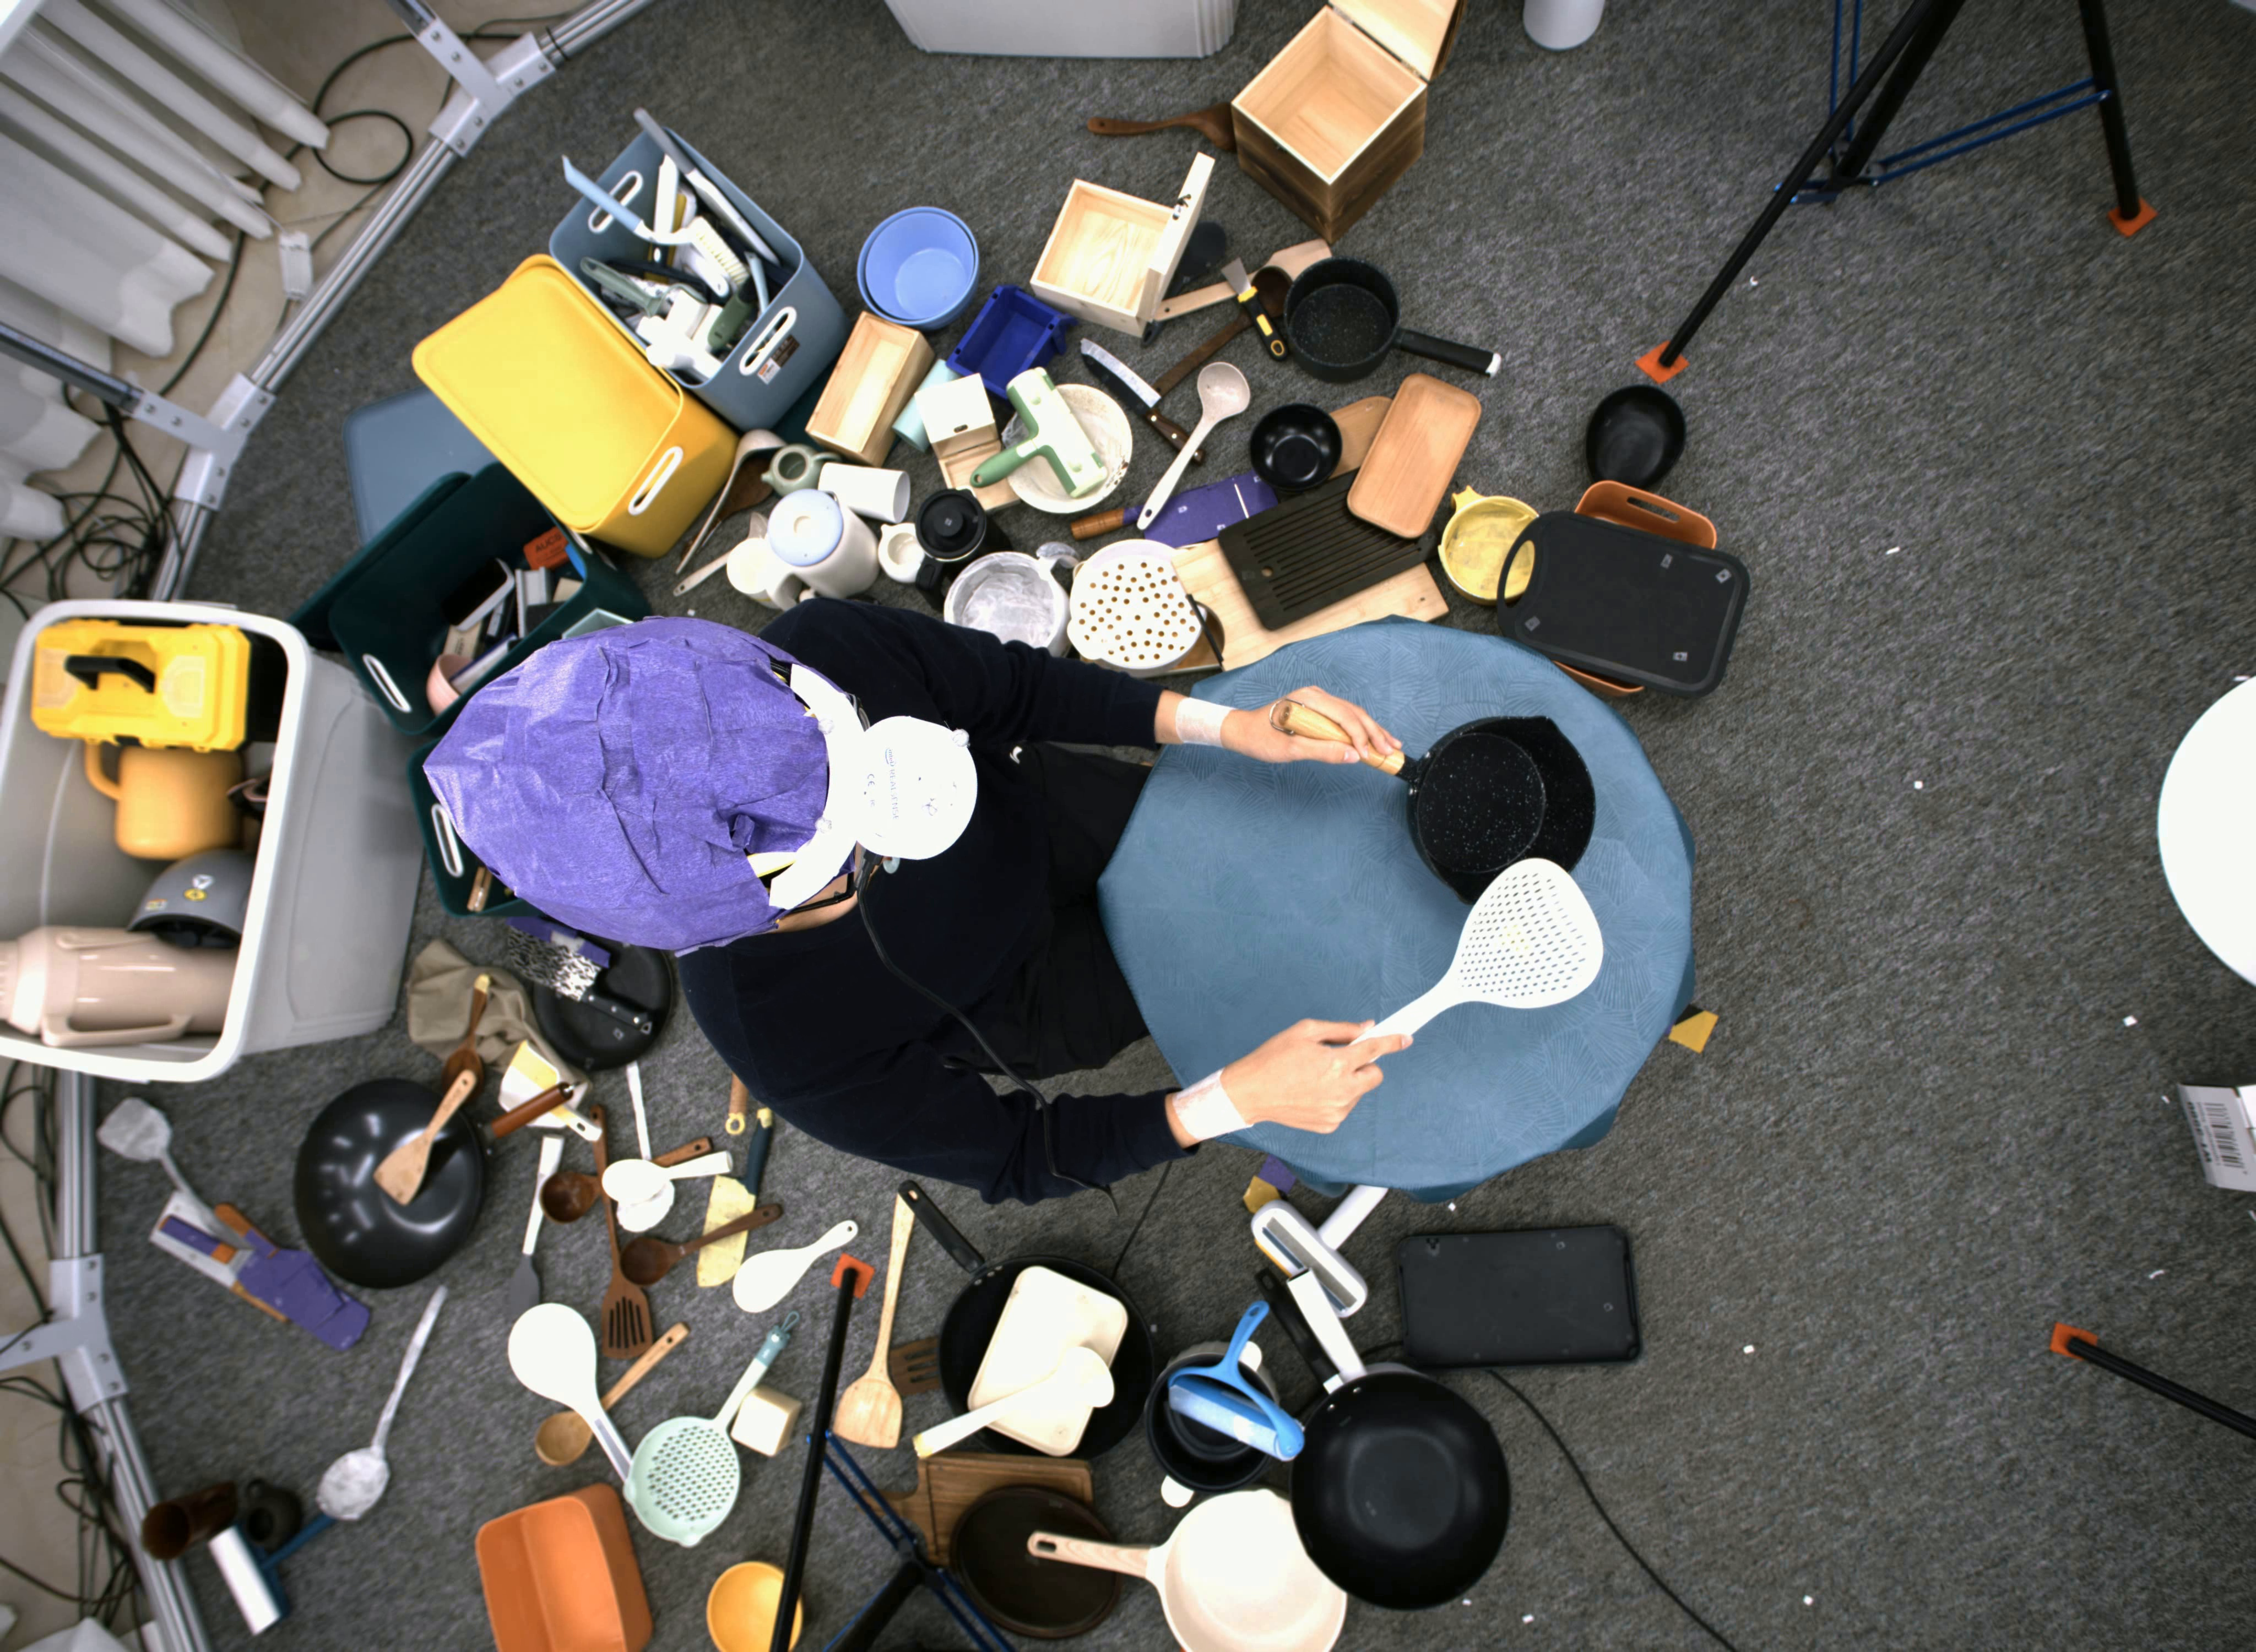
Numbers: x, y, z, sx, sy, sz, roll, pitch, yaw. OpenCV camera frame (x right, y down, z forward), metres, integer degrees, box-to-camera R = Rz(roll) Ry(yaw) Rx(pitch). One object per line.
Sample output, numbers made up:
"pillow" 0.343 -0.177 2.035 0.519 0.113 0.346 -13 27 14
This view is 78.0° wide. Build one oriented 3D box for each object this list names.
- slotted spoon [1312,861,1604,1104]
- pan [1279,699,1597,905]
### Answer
"slotted spoon" 0.302 0.151 1.268 0.343 0.051 0.137 -29 91 -27
"pan" 0.295 -0.049 1.361 0.343 0.107 0.208 21 96 -9
